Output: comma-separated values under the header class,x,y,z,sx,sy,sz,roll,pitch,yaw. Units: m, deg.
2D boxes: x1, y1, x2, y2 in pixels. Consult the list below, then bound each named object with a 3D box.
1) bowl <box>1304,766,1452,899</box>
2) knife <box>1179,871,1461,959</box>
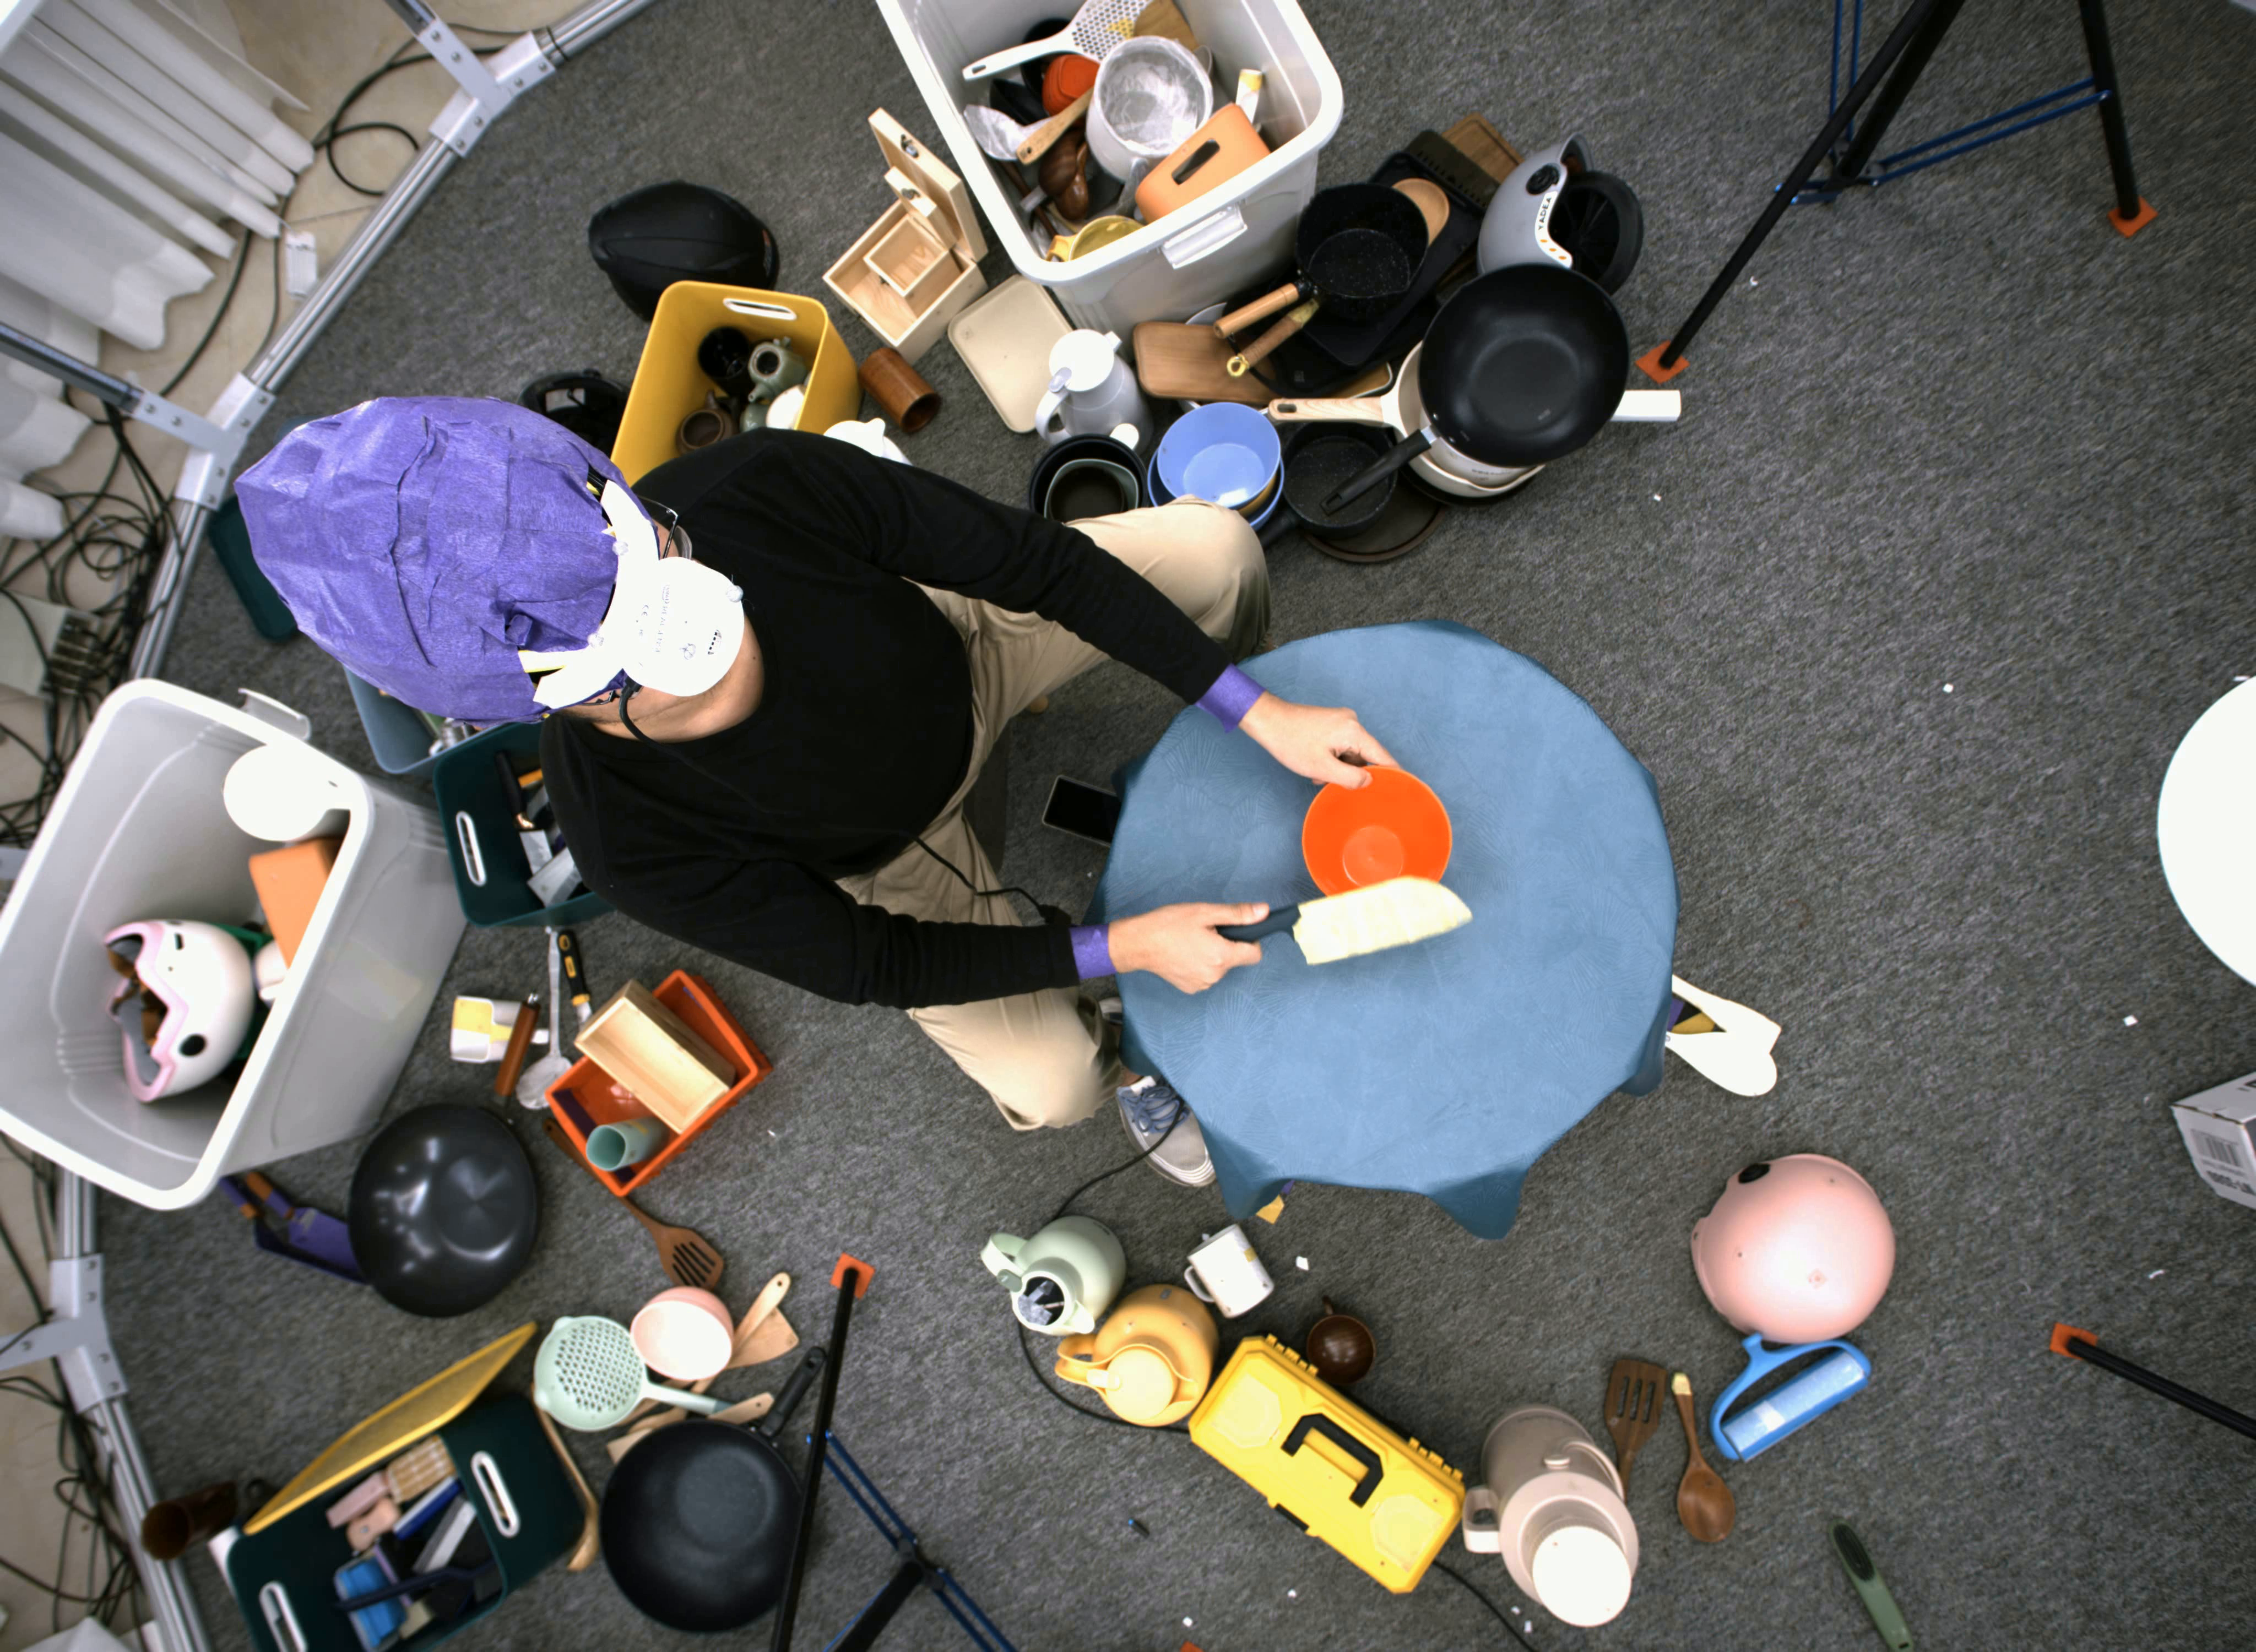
class,x,y,z,sx,sy,sz,roll,pitch,yaw
bowl,0.256,0.016,1.417,0.148,0.104,0.147,0,88,11
knife,0.190,0.098,1.387,0.292,0.026,0.082,-13,119,21
